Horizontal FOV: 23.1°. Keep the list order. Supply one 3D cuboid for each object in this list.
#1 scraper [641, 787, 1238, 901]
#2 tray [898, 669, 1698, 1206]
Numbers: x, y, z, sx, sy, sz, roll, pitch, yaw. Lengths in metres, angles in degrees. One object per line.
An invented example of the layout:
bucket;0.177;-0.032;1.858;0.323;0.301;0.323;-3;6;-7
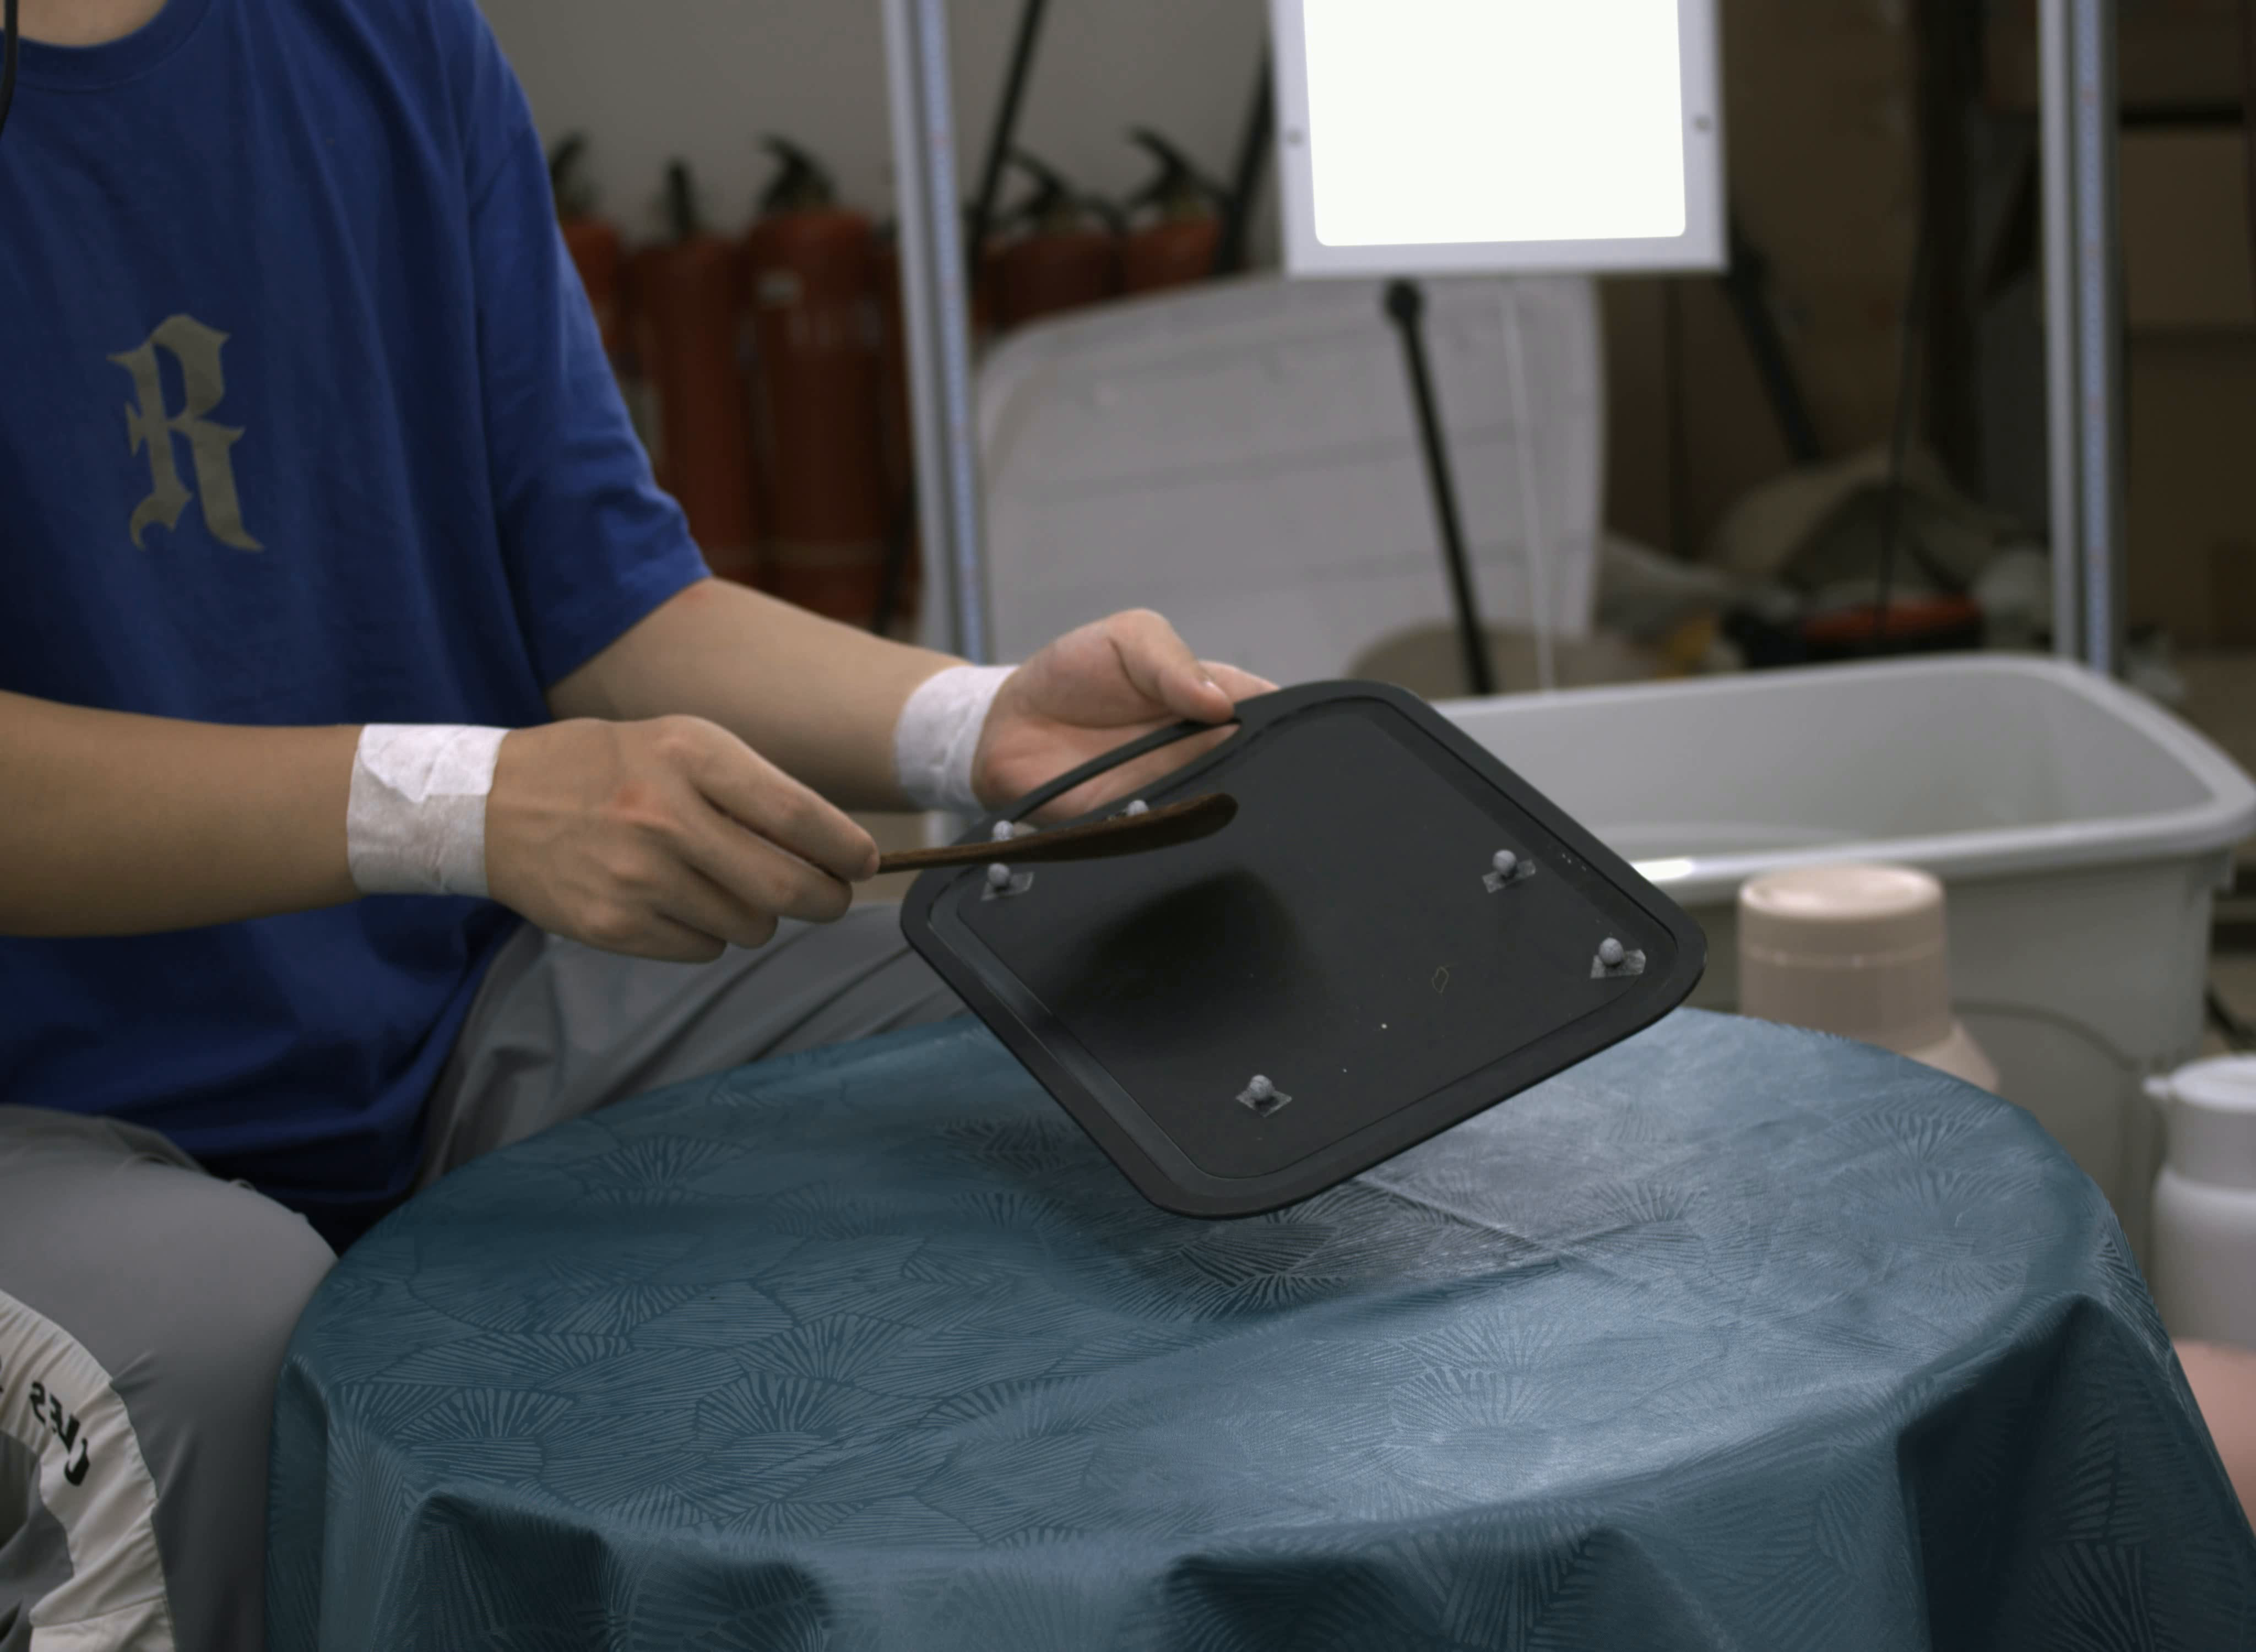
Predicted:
scraper;-0.065;0.009;1.918;0.212;0.011;0.075;-7;-10;6
tray;0.048;0.029;1.906;0.209;0.010;0.329;-27;30;-11
